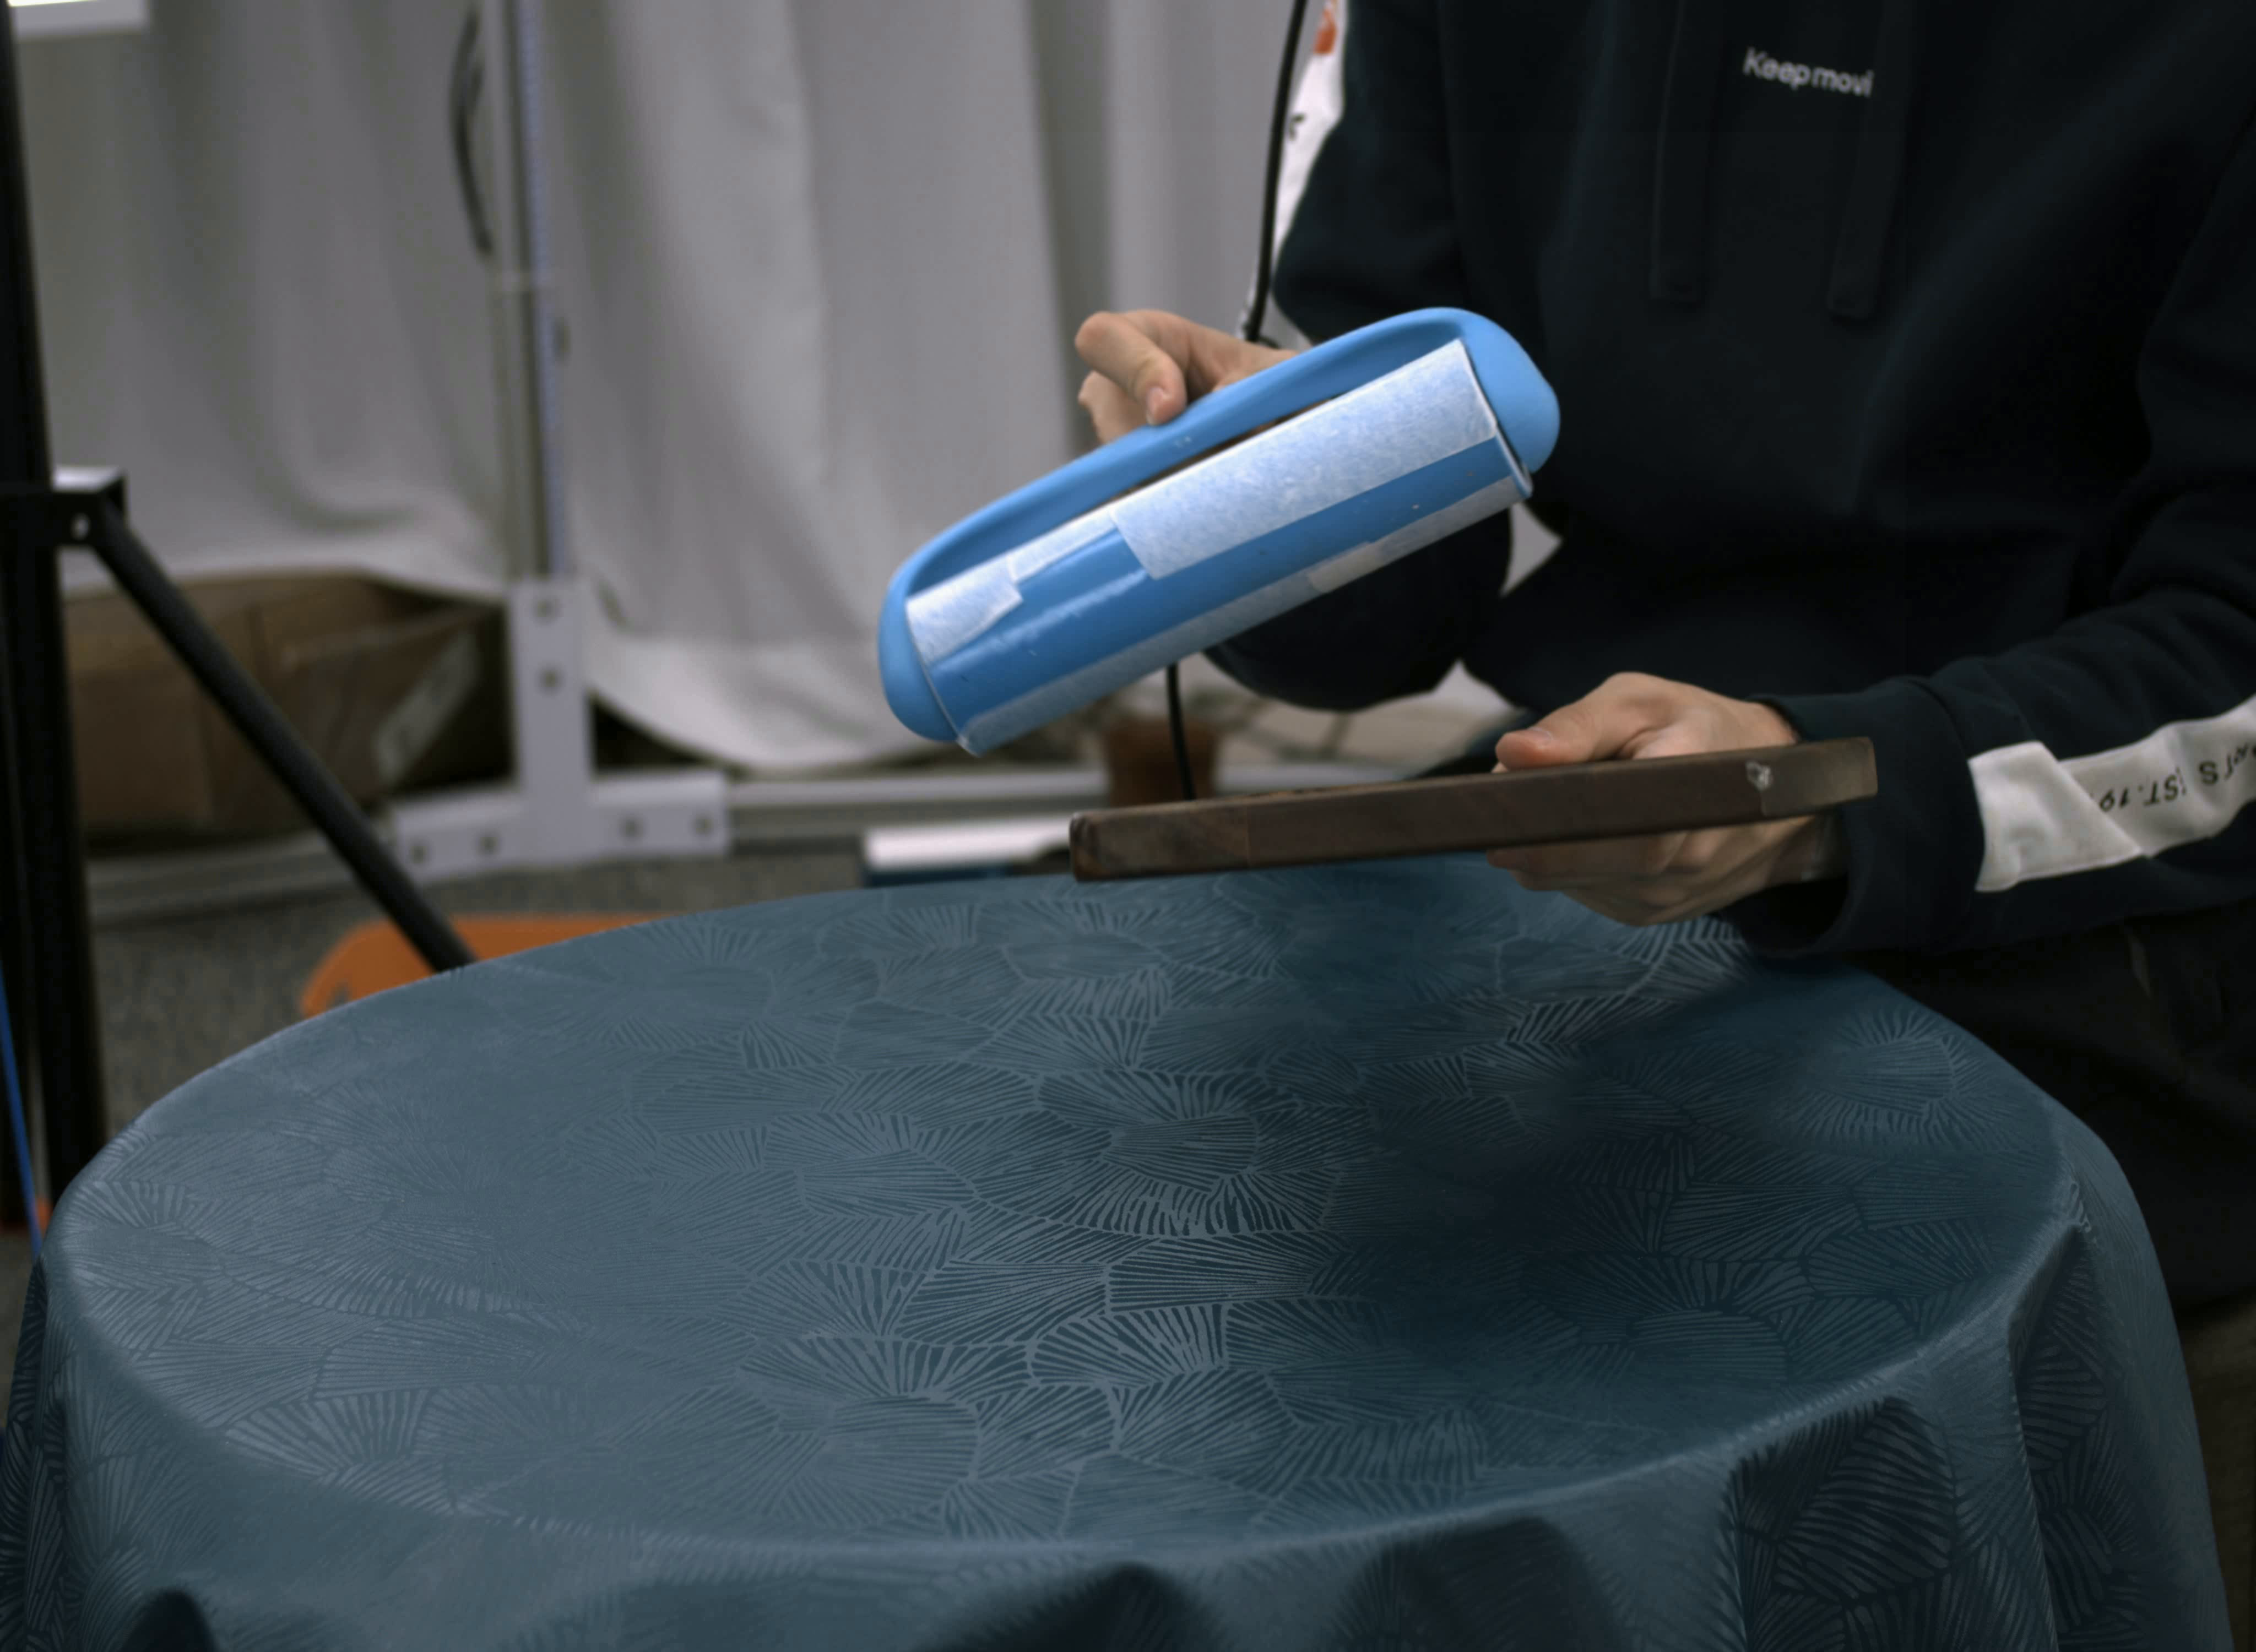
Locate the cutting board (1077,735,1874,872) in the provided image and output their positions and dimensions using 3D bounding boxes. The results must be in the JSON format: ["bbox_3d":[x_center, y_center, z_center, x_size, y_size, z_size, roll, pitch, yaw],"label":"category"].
[{"bbox_3d":[0.114,-0.008,1.534,0.202,0.023,0.348,-4,0,12],"label":"cutting board"}]

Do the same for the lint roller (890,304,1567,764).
[{"bbox_3d":[0.028,-0.102,1.708,0.229,0.067,0.181,-28,15,7],"label":"lint roller"}]
